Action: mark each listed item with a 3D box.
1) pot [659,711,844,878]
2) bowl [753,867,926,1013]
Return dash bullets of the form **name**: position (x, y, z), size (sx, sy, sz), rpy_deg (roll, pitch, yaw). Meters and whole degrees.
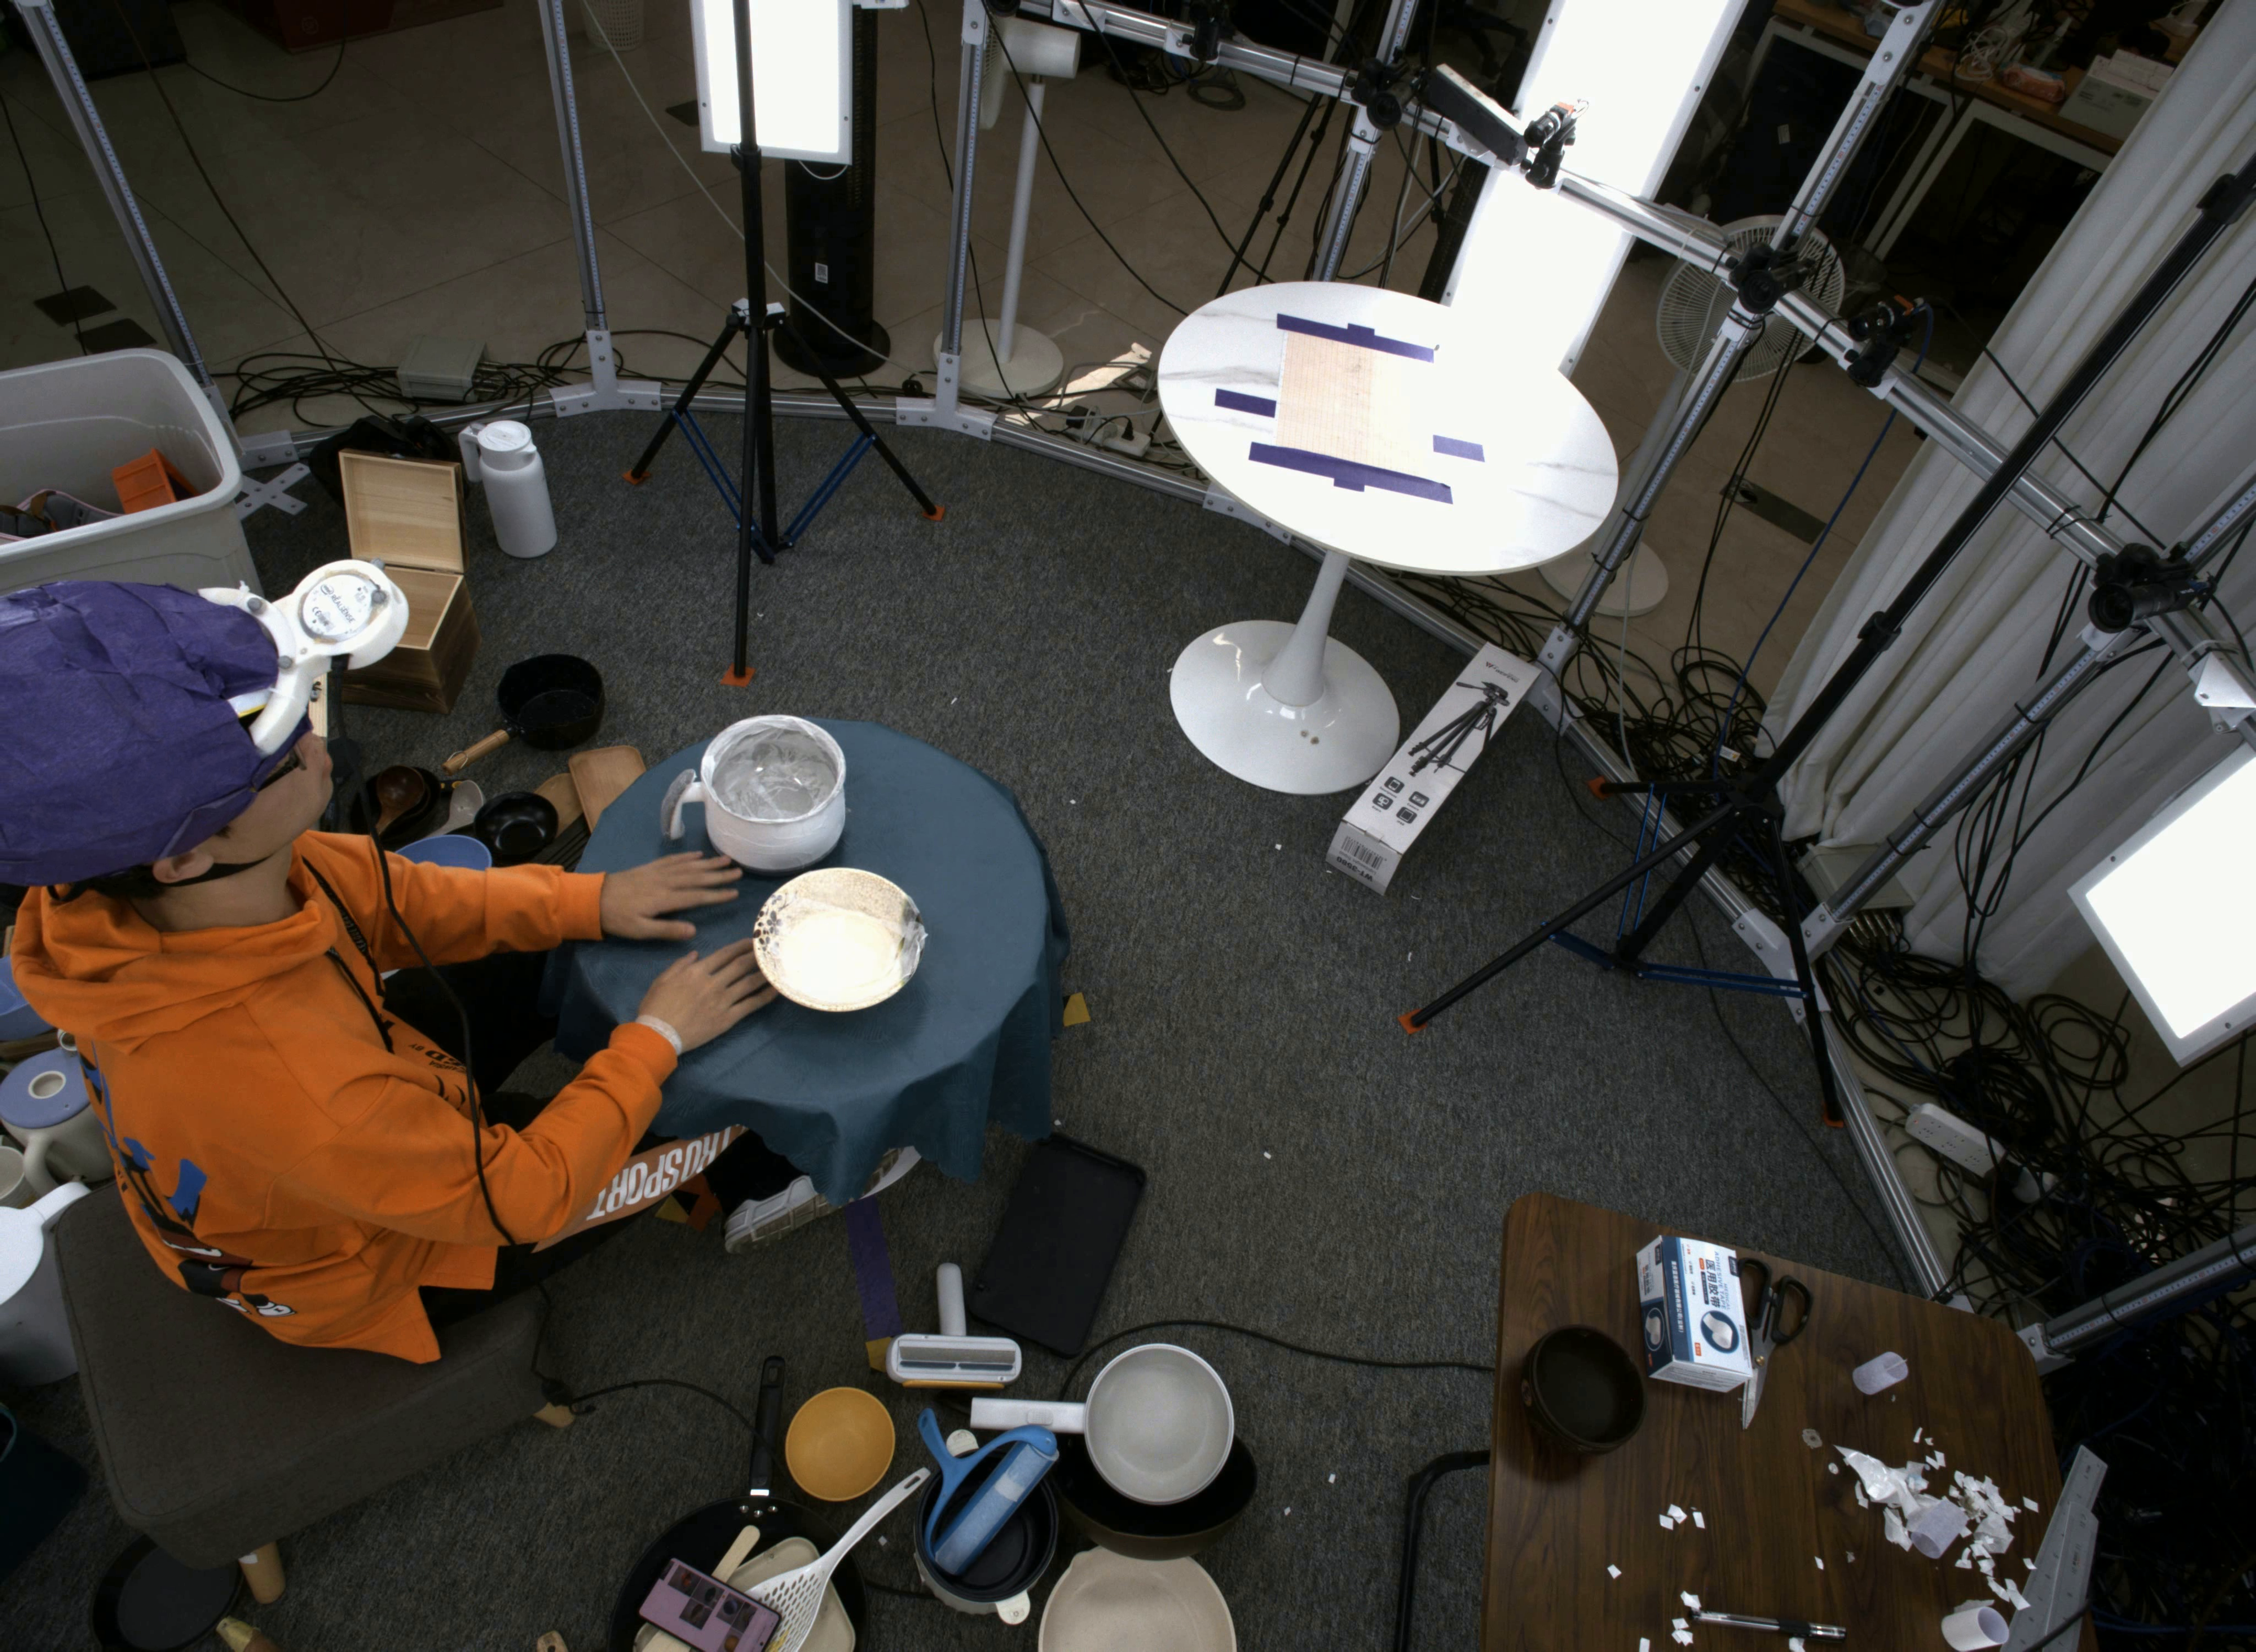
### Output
- **pot**: position (-0.477, -0.033, 1.635), size (0.235, 0.139, 0.174), rpy_deg (-7, 55, -20)
- **bowl**: position (-0.347, 0.152, 1.572), size (0.203, 0.079, 0.200), rpy_deg (7, 53, -8)
